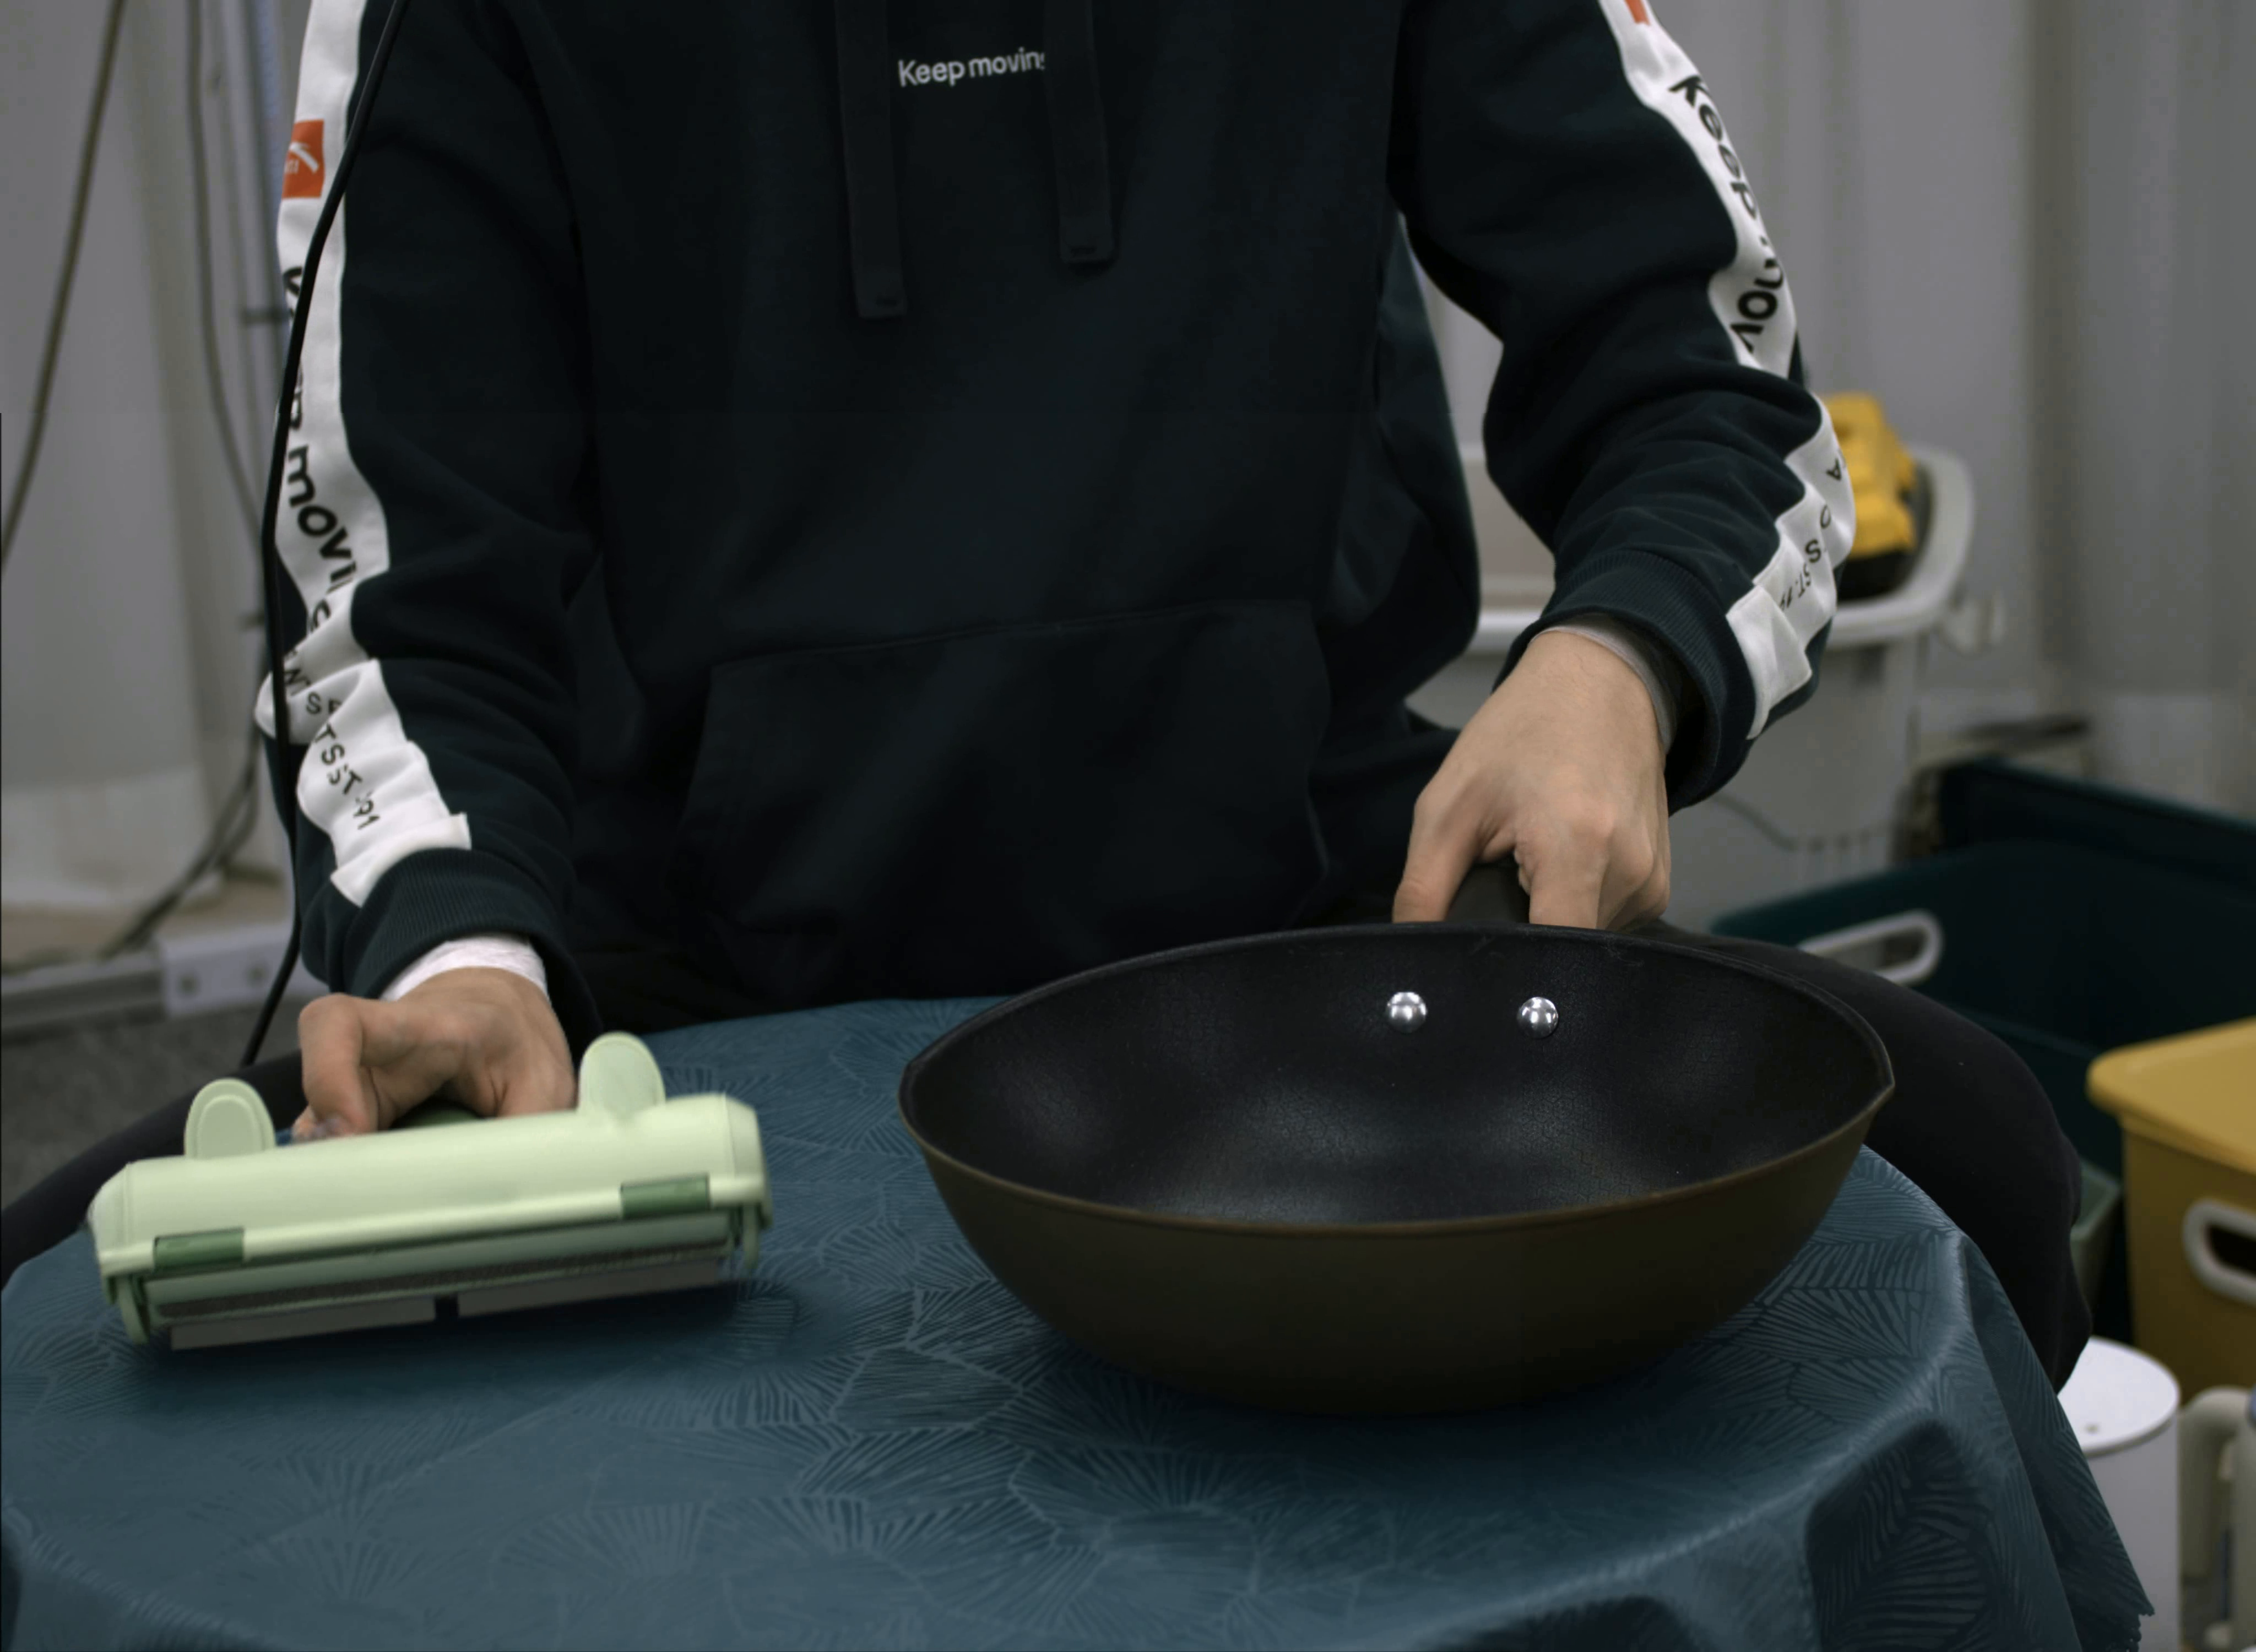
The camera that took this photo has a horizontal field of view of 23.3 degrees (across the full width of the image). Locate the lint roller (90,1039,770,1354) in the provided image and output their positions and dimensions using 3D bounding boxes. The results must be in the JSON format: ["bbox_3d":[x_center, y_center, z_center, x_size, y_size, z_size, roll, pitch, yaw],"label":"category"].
[{"bbox_3d":[-0.212,0.095,1.669,0.198,0.082,0.185,-6,18,-5],"label":"lint roller"}]

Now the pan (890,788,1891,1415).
[{"bbox_3d":[0.095,0.081,1.658,0.288,0.086,0.465,1,15,13],"label":"pan"}]
